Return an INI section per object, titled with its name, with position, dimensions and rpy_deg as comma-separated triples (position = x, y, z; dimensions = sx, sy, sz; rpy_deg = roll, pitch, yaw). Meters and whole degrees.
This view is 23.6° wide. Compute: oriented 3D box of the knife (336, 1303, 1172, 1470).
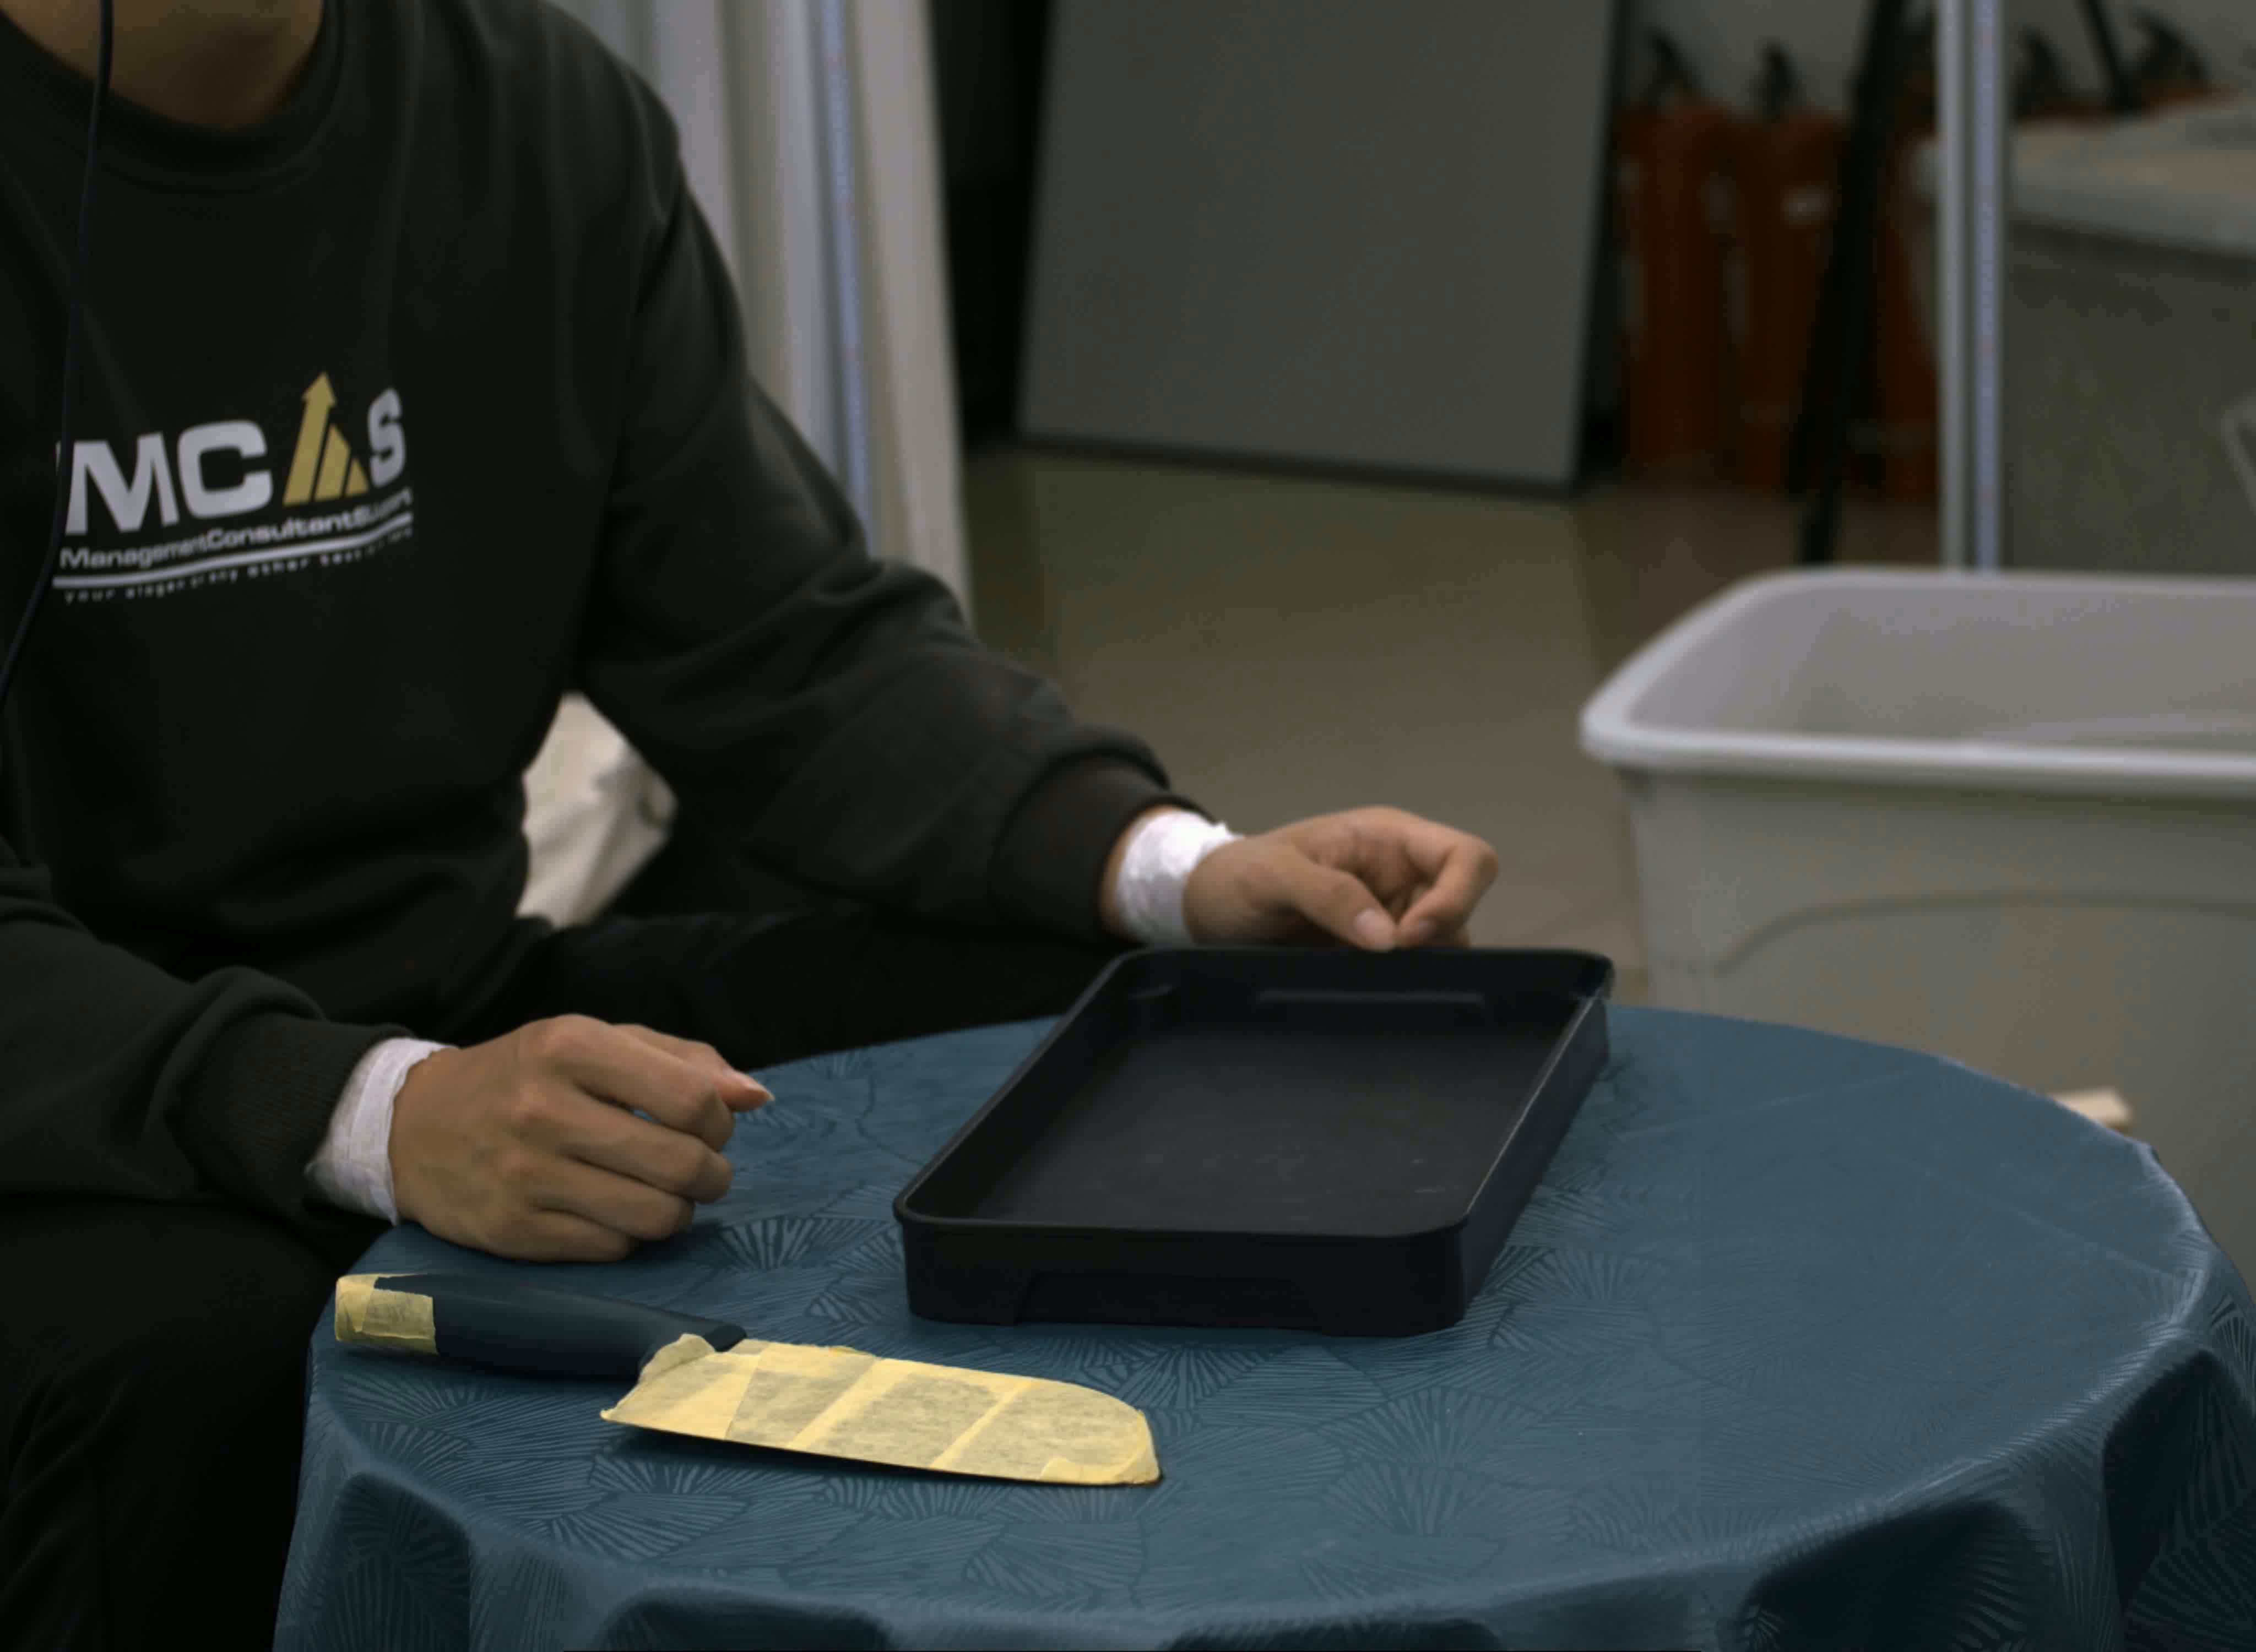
[knife]
position = -0.117, 0.167, 1.589
dimensions = 0.290, 0.027, 0.080
rpy_deg = 4, 14, 27

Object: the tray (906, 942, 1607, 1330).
[tray]
position = 0.051, 0.098, 1.781
dimensions = 0.183, 0.037, 0.316
rpy_deg = -1, 14, 14
